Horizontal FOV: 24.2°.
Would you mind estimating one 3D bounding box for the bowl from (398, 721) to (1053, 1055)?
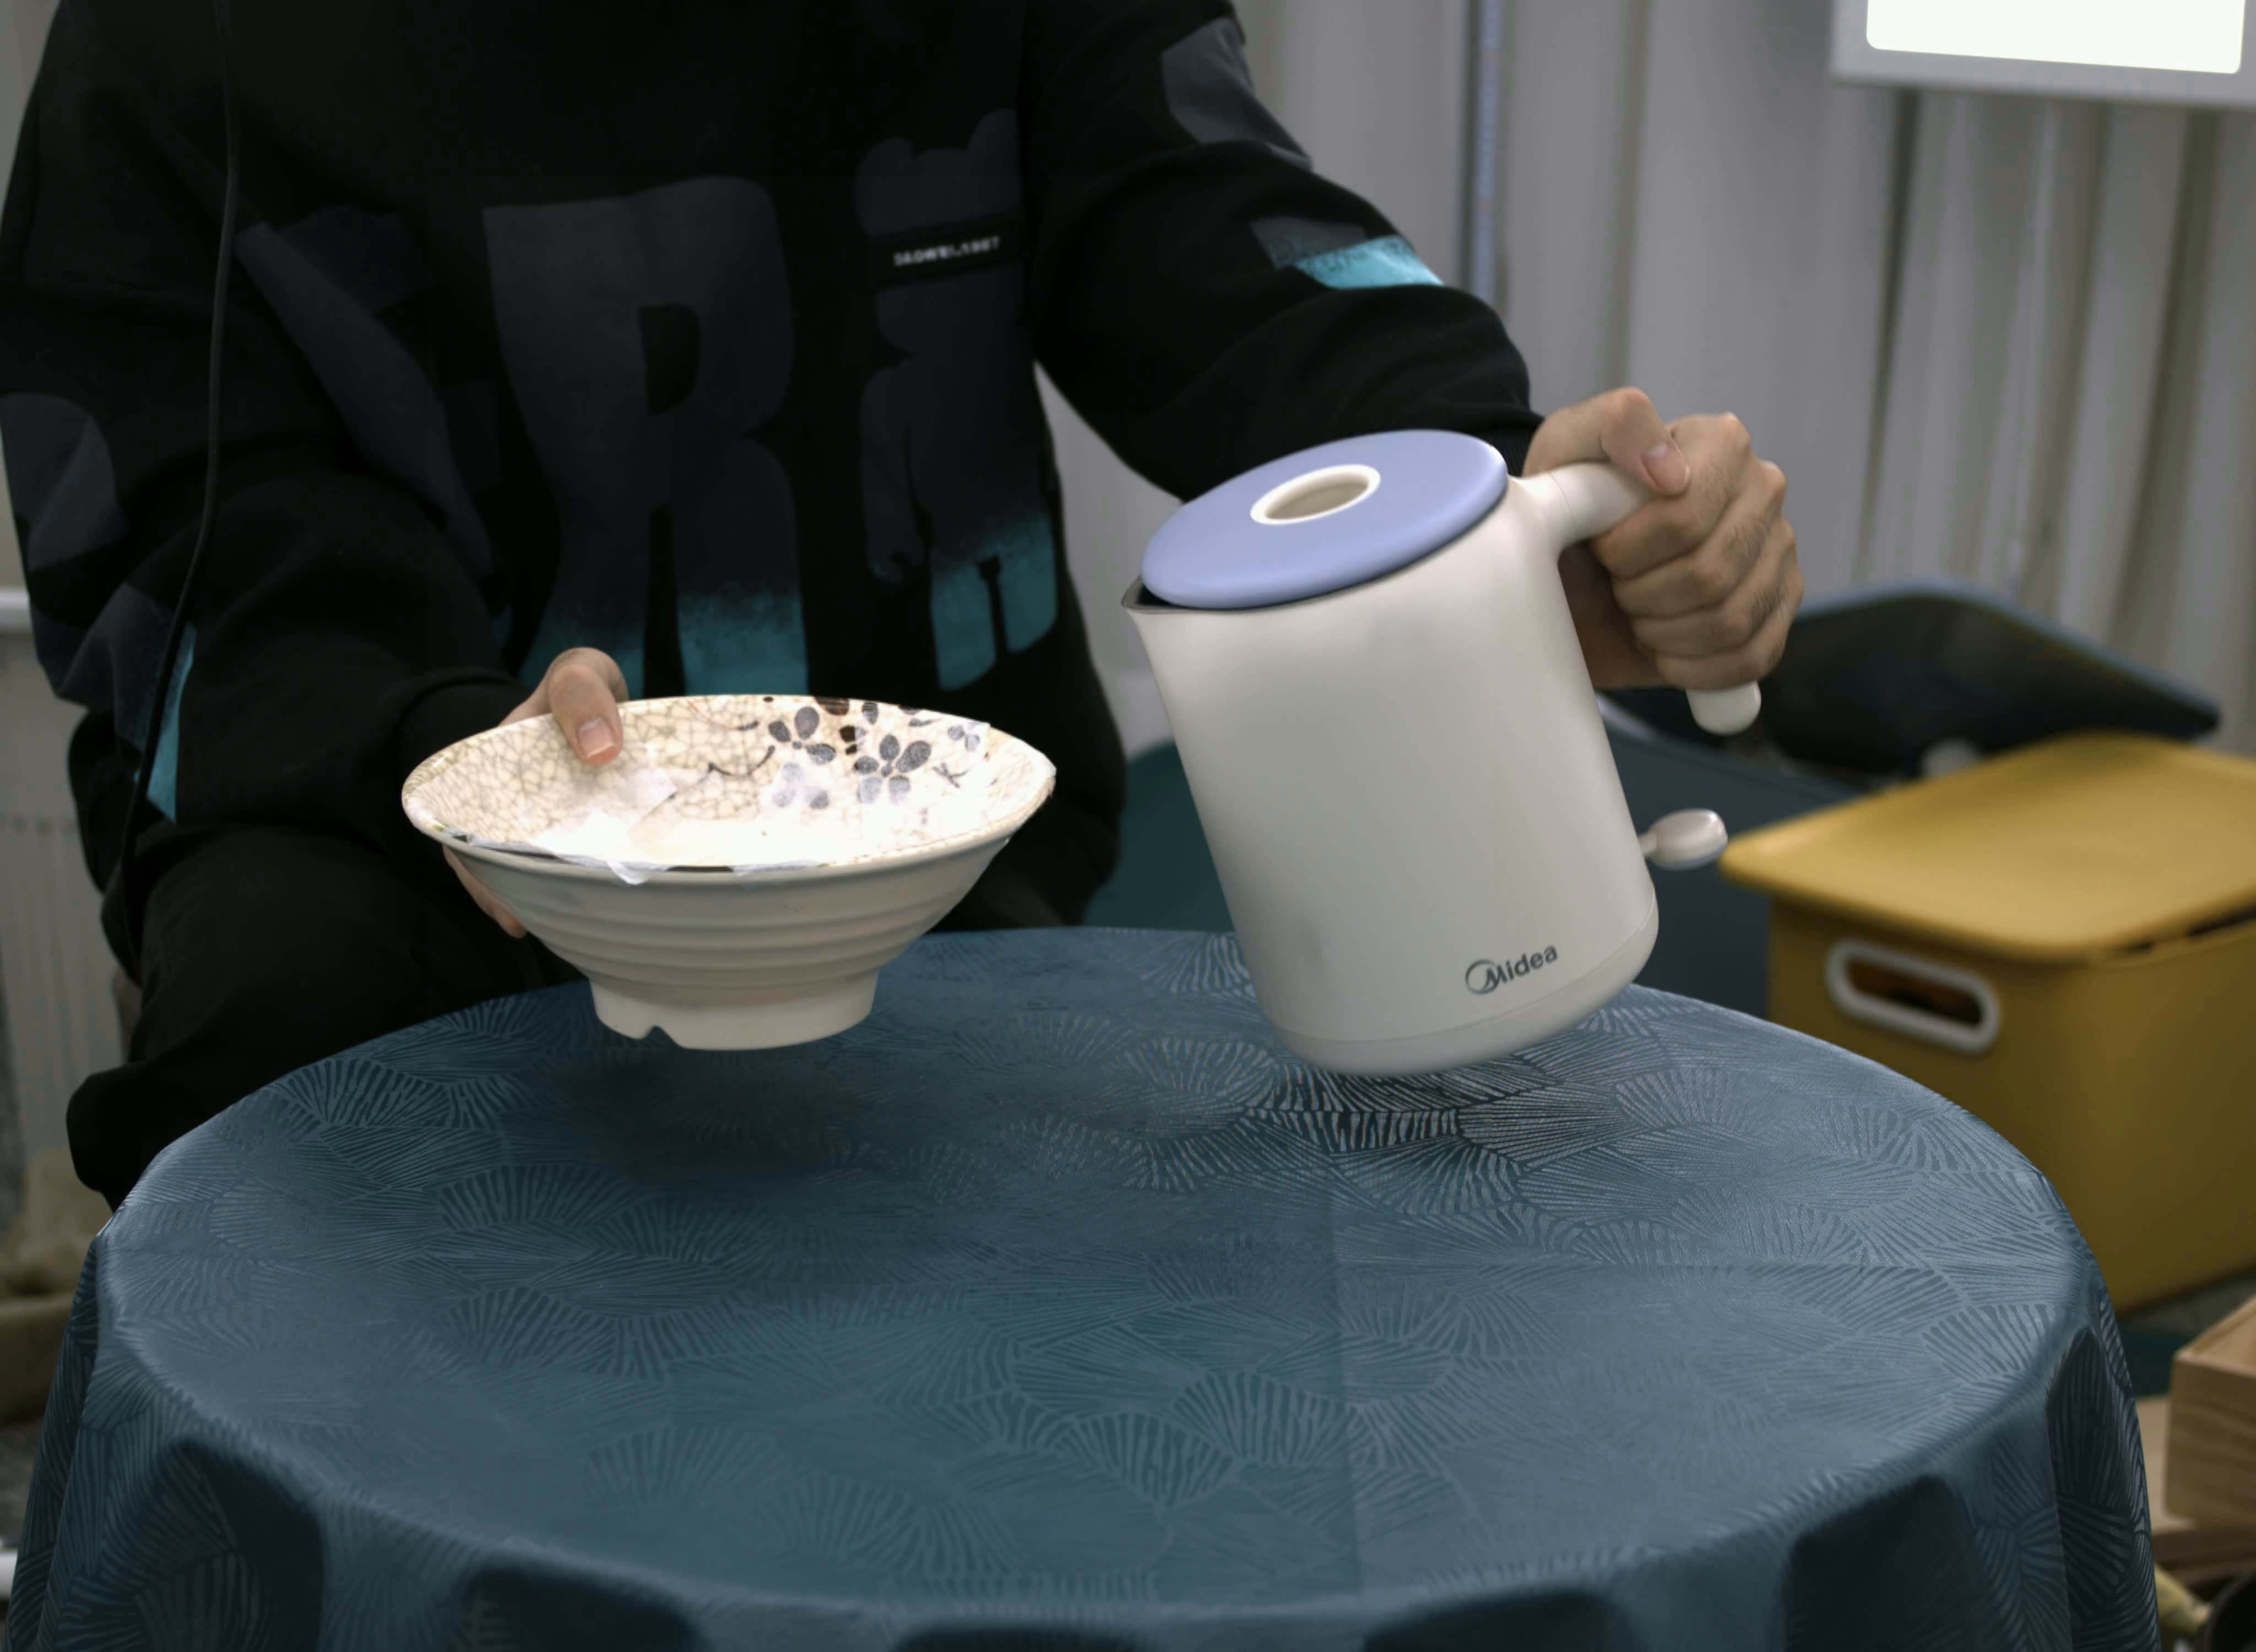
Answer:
[{"bbox_3d":[-0.124,0.023,1.641,0.203,0.078,0.203,0,12,1],"label":"bowl"}]

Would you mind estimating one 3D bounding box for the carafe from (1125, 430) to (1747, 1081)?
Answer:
[{"bbox_3d":[0.105,-0.031,1.663,0.191,0.184,0.131,-20,23,-12],"label":"carafe"}]
